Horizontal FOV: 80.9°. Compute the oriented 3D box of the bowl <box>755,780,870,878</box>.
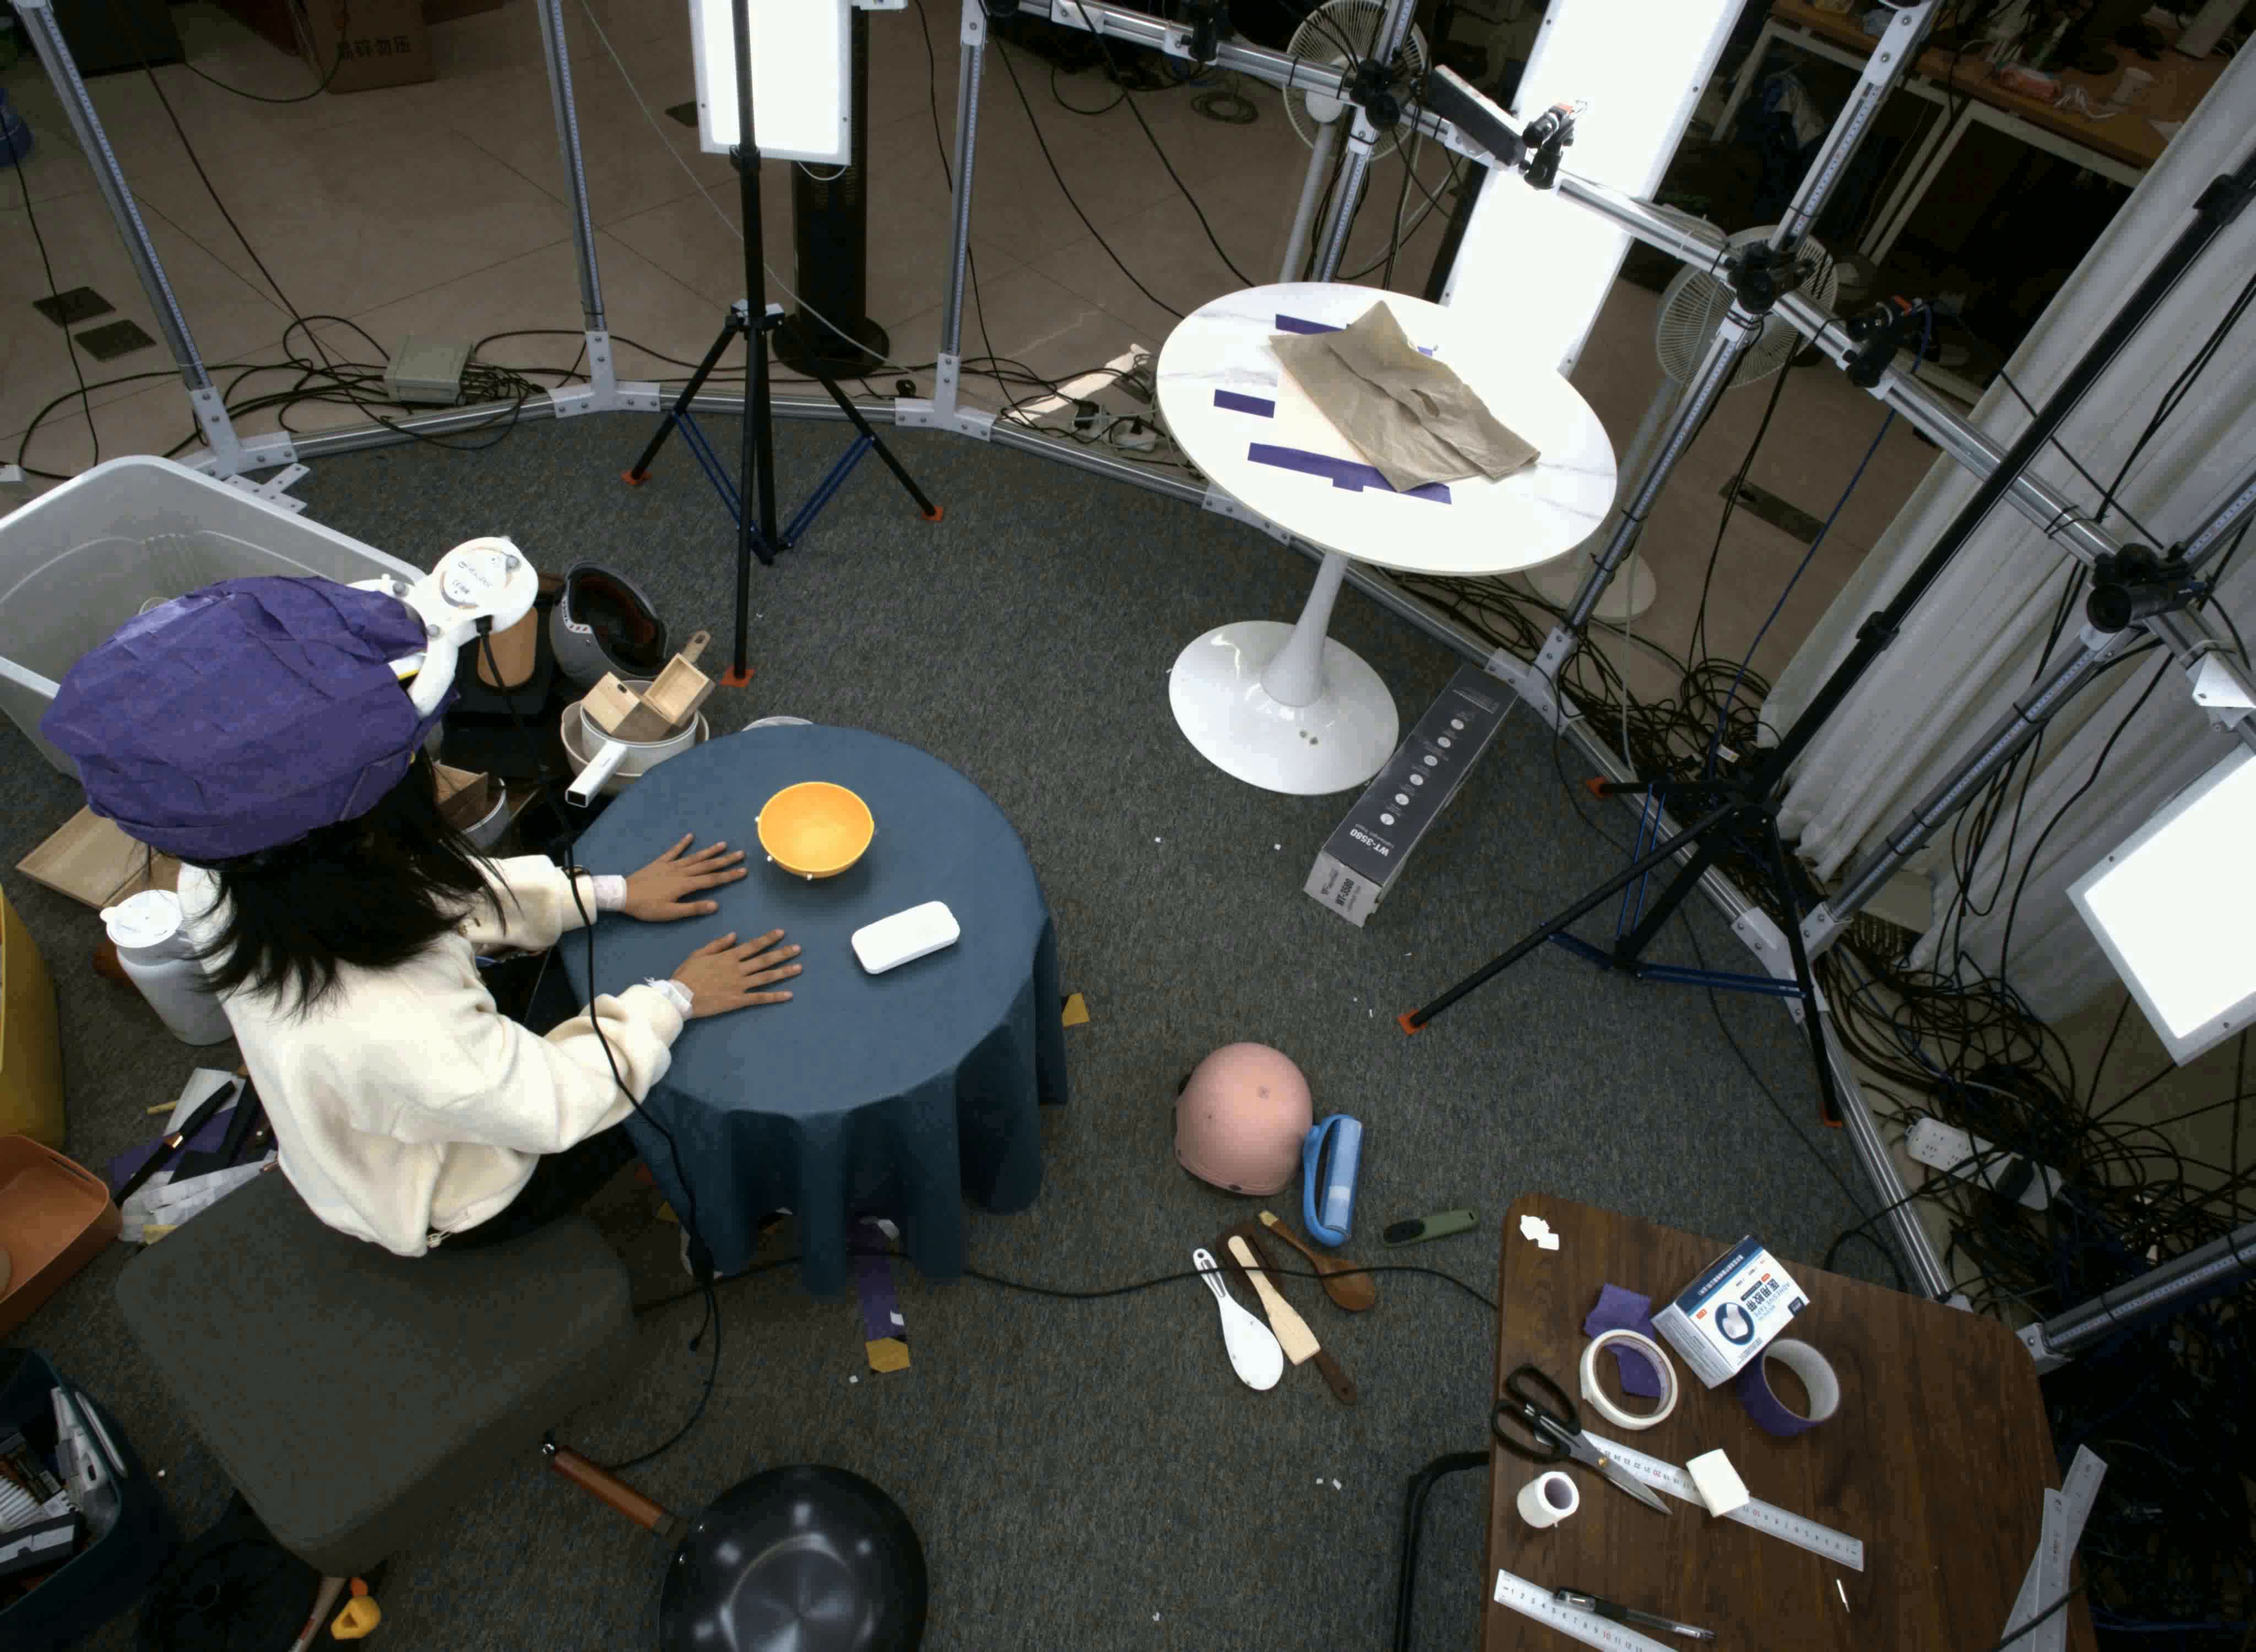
[{"bbox_3d":[-0.407,0.015,1.675,0.145,0.061,0.143,10,51,-10],"label":"bowl"}]

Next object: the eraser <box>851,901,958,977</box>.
[{"bbox_3d":[-0.281,0.138,1.634,0.132,0.035,0.062,-21,61,-28],"label":"eraser"}]
